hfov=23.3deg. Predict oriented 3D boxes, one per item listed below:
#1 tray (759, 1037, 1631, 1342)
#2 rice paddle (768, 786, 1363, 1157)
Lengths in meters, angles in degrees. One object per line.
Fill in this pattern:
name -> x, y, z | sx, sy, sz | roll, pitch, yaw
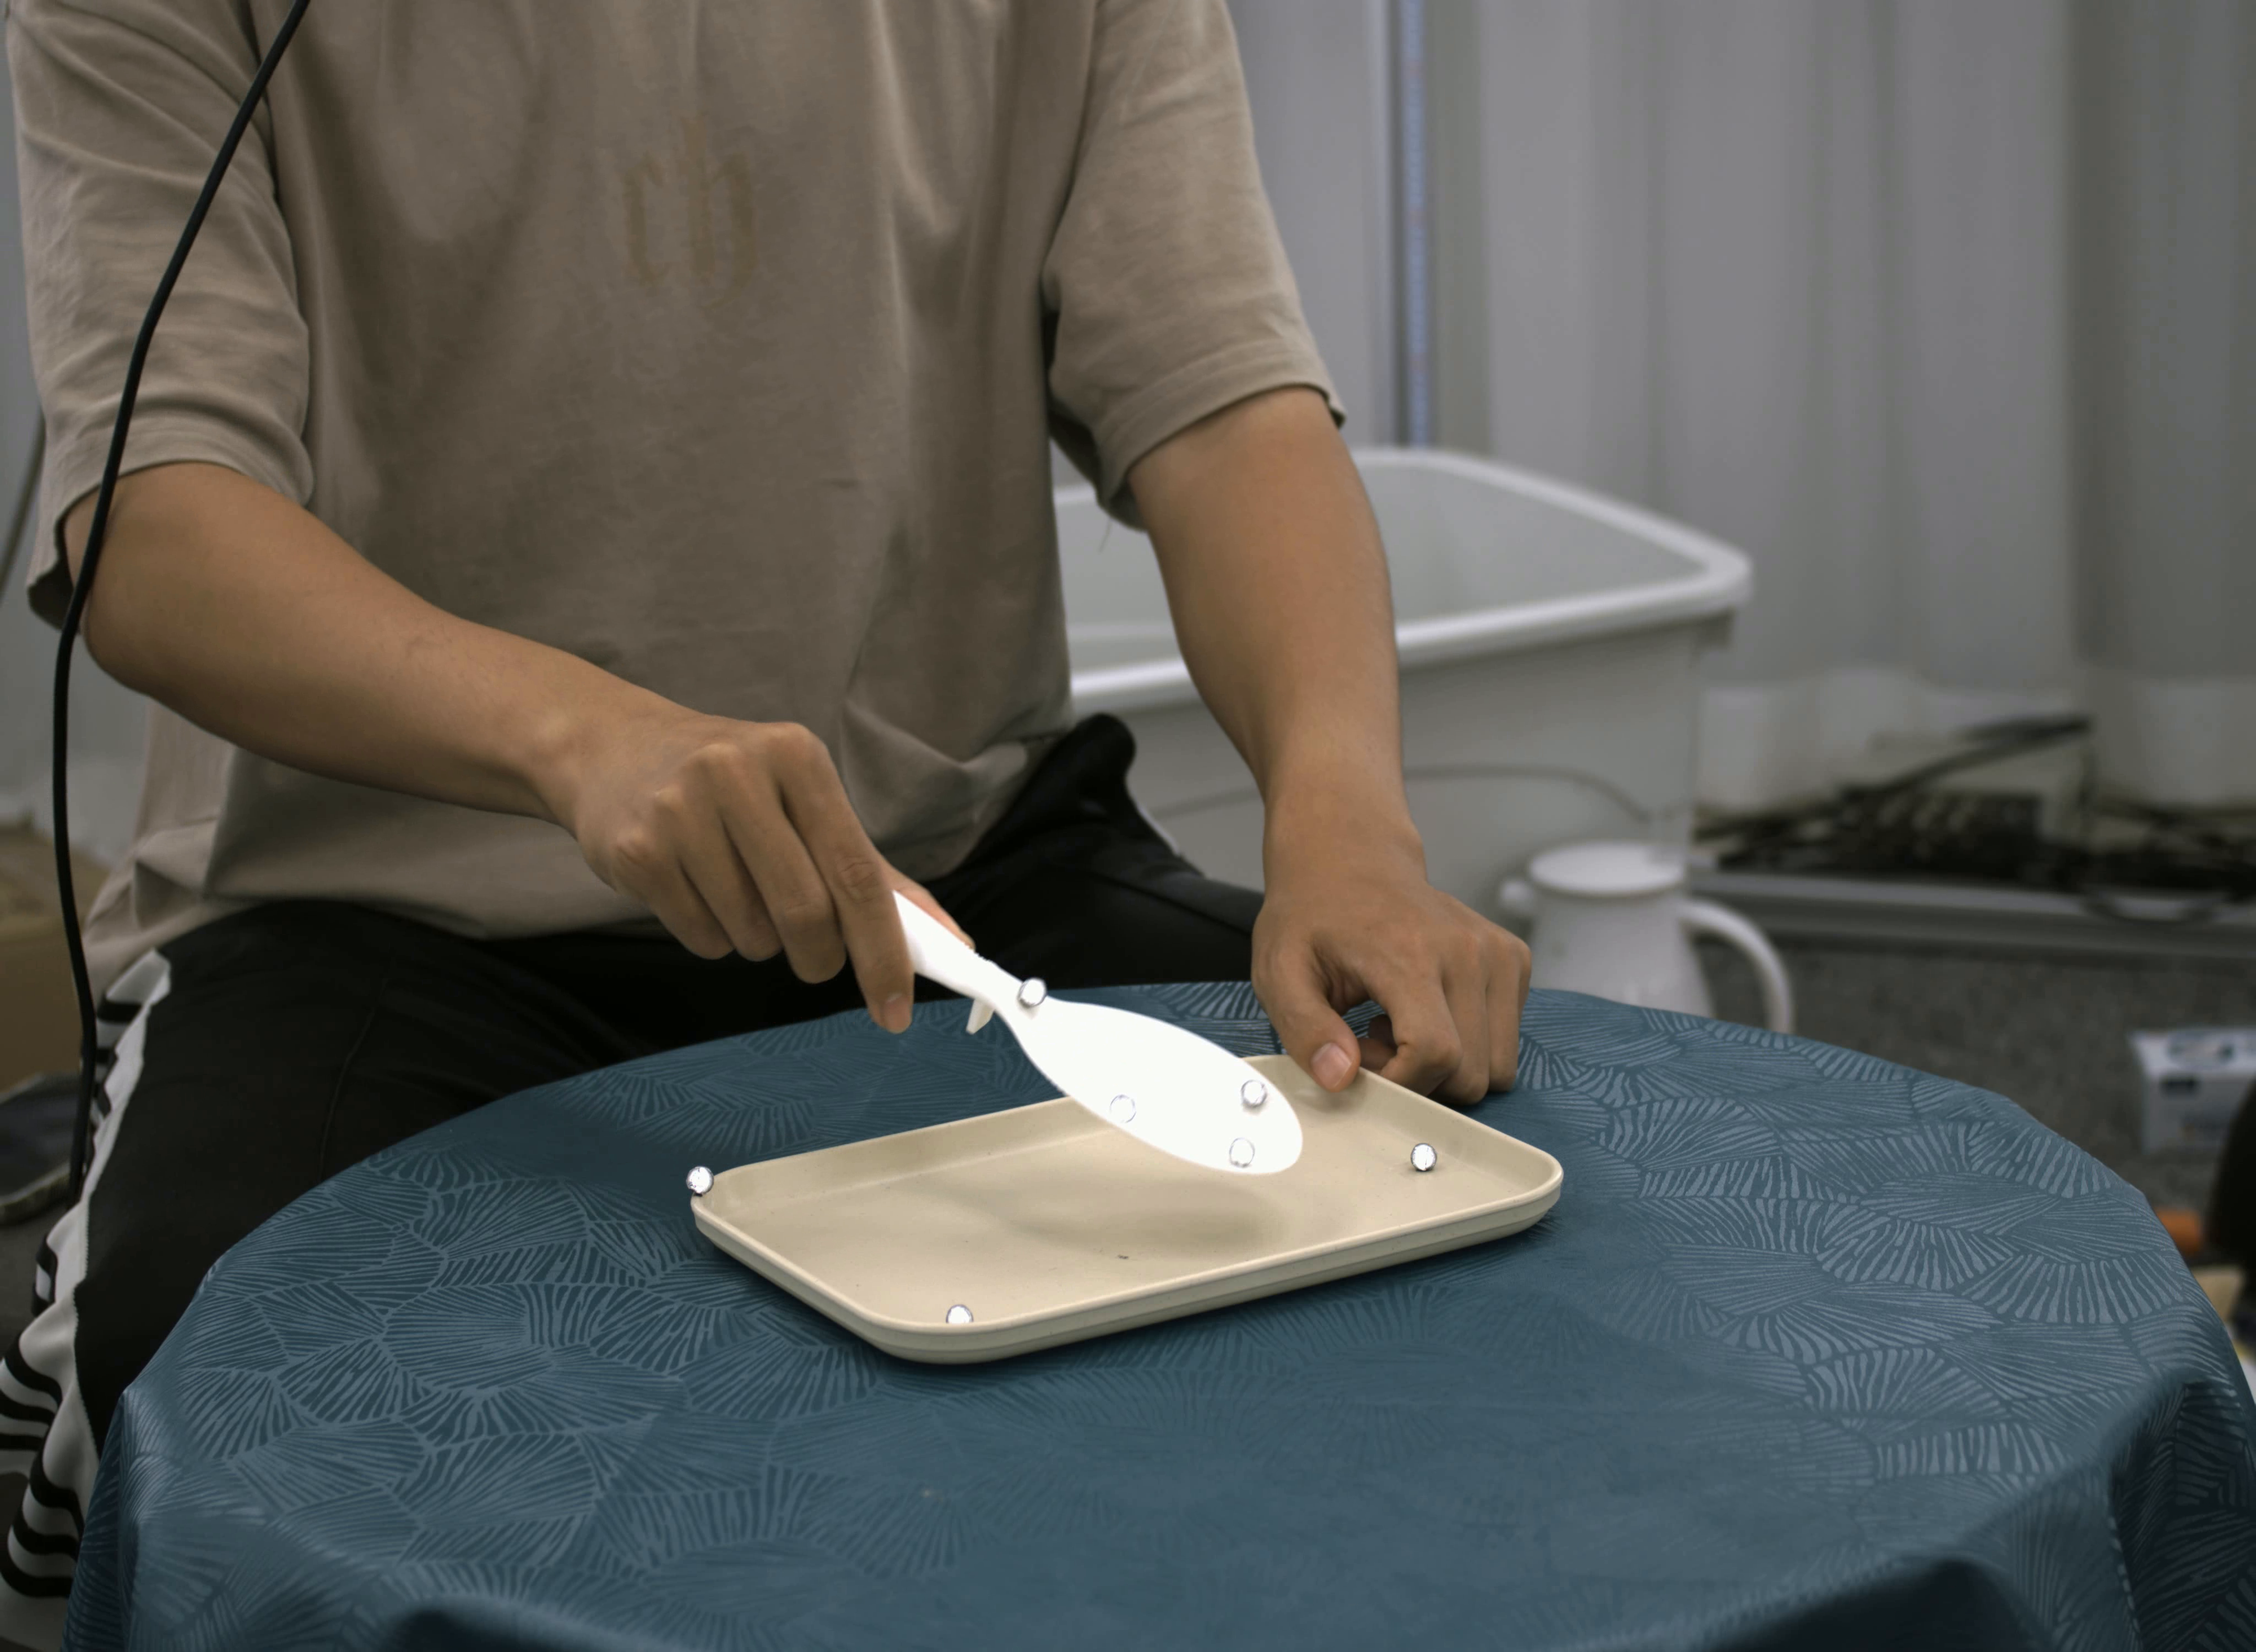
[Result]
tray -> 0.020, 0.110, 1.675 | 0.238, 0.017, 0.172 | -10, 17, -28
rice paddle -> -0.017, 0.047, 1.680 | 0.206, 0.029, 0.069 | 29, 30, 16
